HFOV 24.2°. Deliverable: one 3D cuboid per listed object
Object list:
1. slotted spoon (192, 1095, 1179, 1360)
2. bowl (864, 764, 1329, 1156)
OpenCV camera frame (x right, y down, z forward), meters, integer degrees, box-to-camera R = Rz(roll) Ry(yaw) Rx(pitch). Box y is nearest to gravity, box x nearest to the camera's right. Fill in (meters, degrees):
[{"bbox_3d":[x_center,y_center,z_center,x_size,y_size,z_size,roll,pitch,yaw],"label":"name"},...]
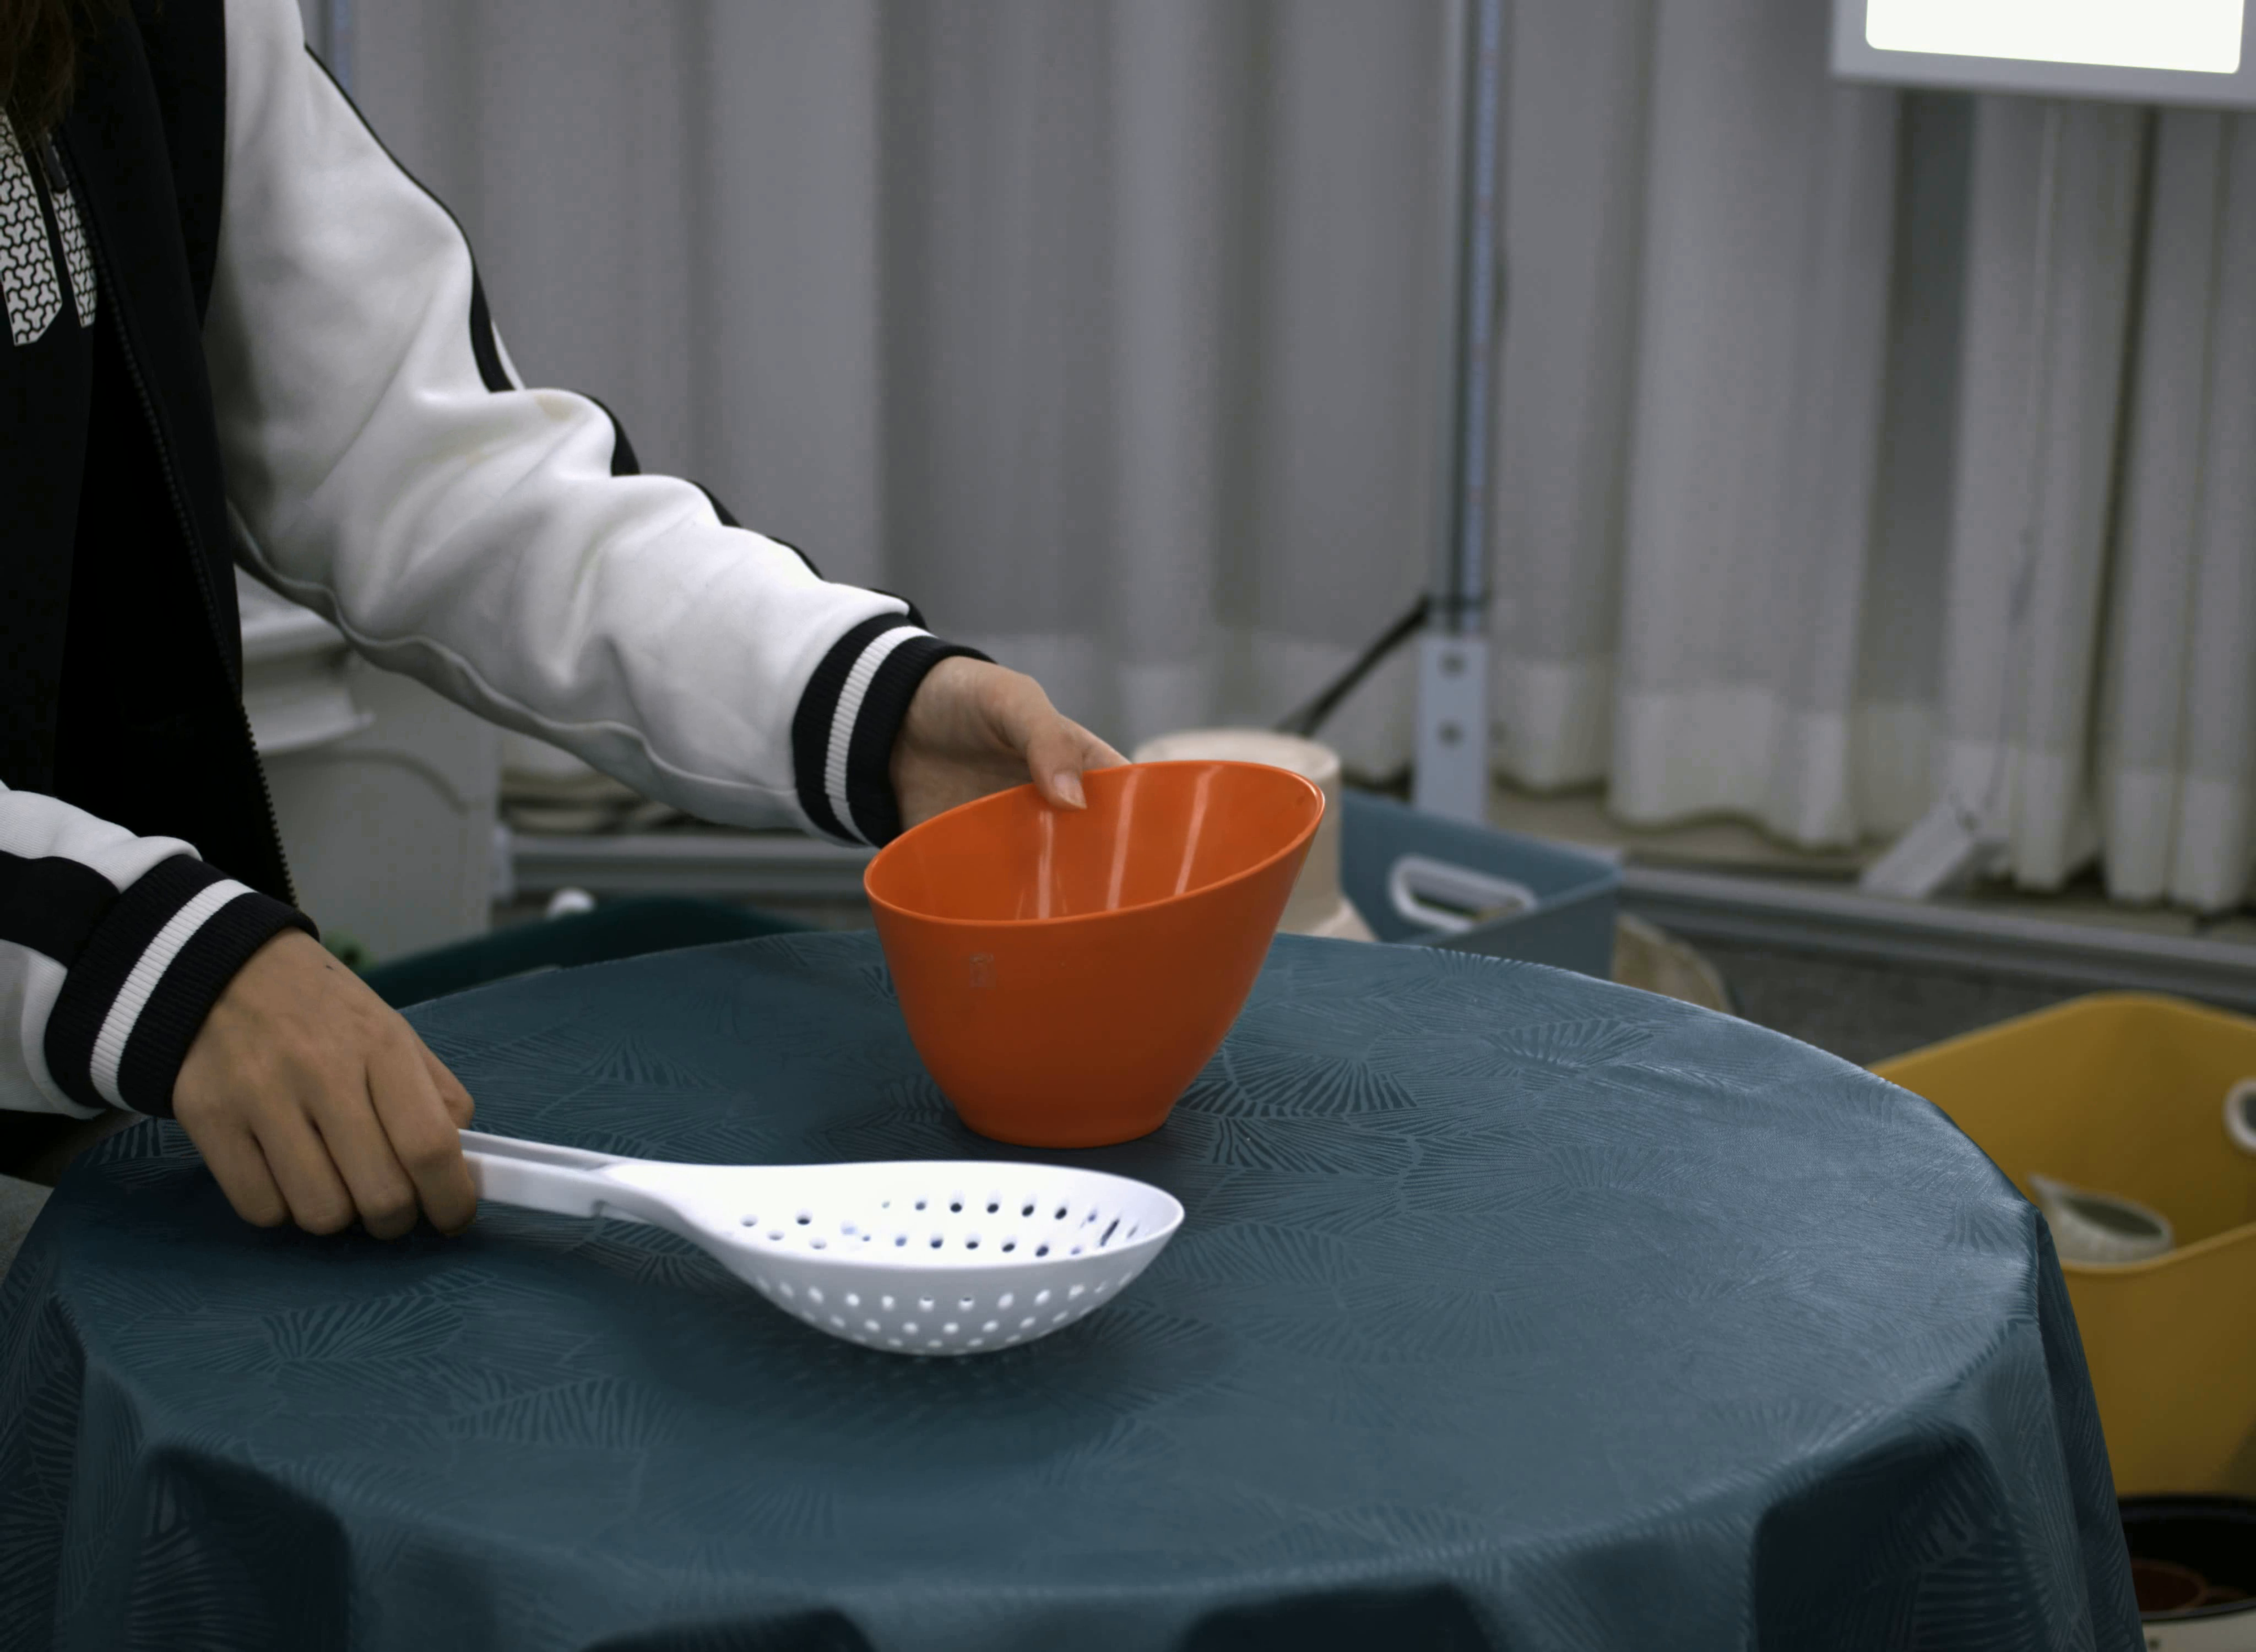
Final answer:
[{"bbox_3d":[-0.142,0.107,1.541,0.345,0.046,0.137,11,14,33],"label":"slotted spoon"},{"bbox_3d":[-0.009,0.045,1.678,0.147,0.105,0.147,0,18,1],"label":"bowl"}]
